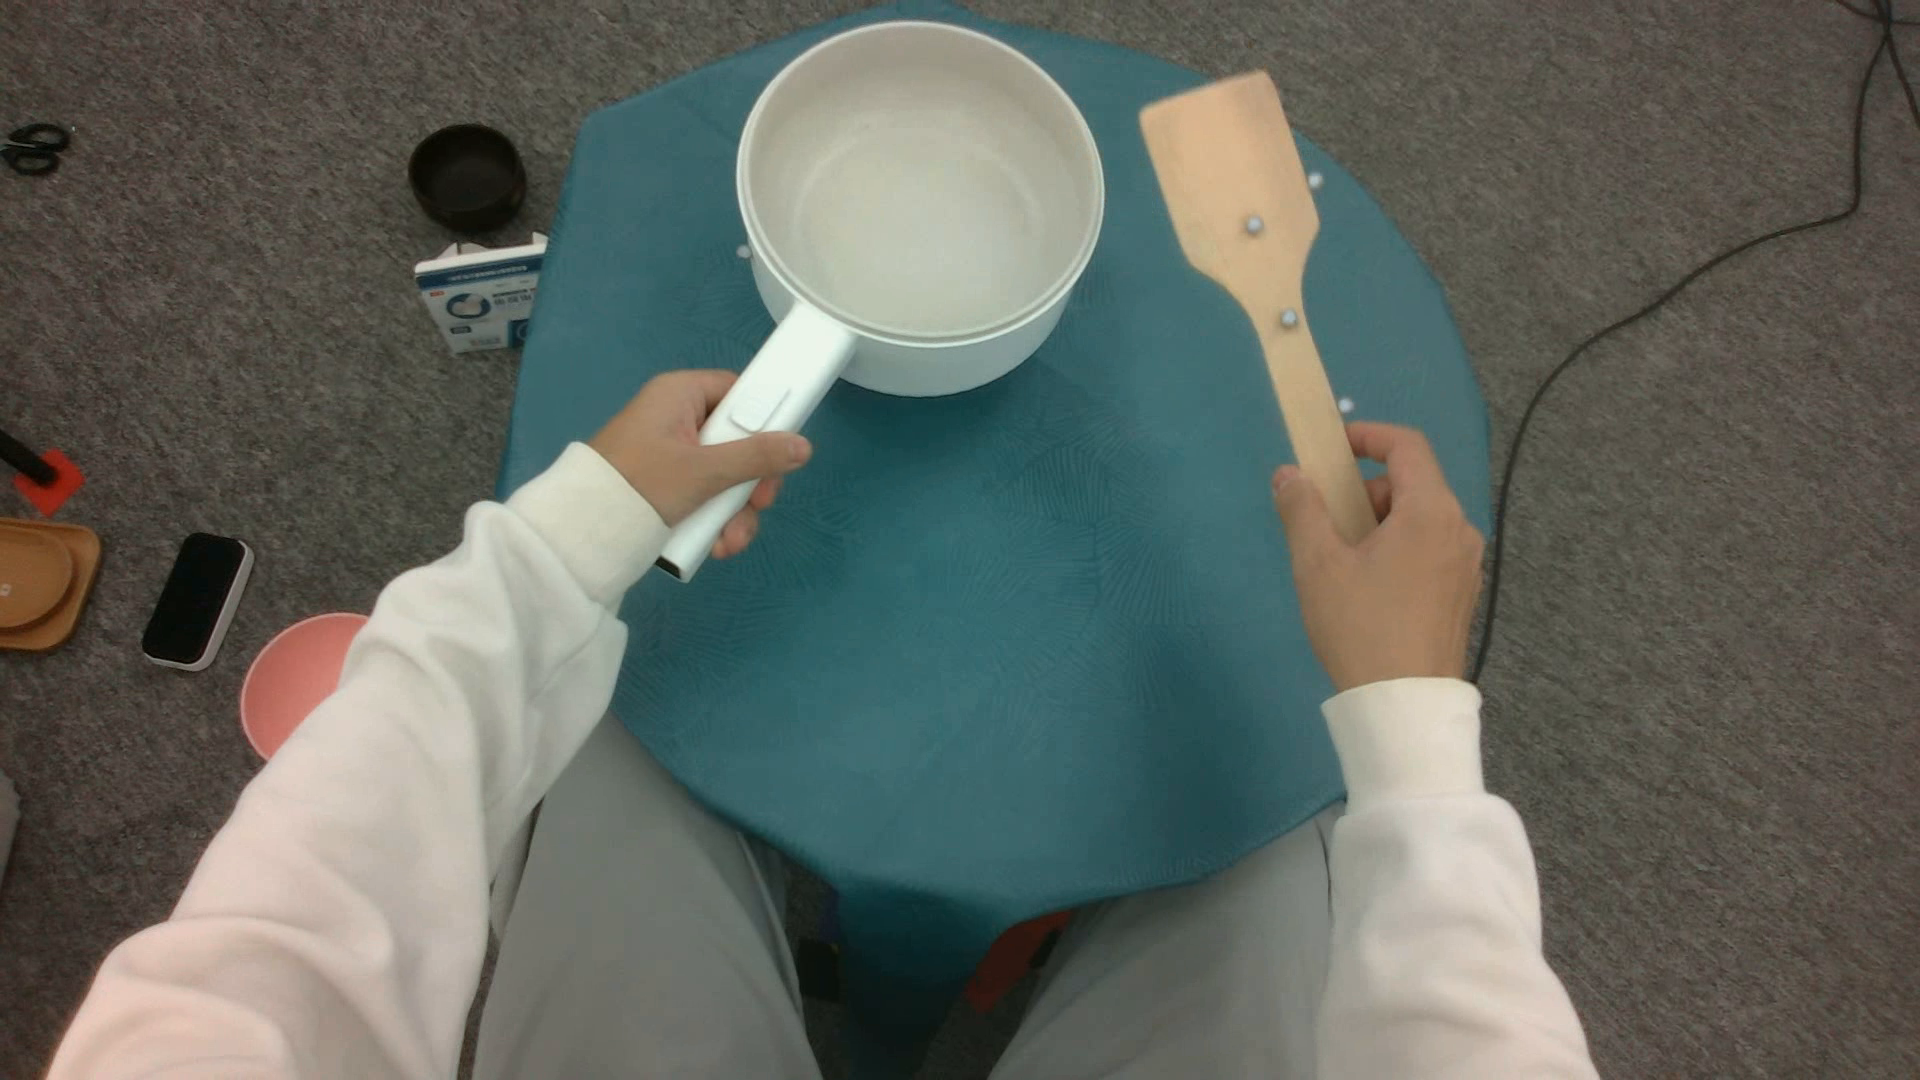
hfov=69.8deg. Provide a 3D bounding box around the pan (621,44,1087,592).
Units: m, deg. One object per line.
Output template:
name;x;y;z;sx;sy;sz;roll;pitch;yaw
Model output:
pan;-0.069;-0.116;0.783;0.201;0.102;0.356;29;71;6

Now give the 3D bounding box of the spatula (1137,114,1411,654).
spatula;0.169;-0.082;0.704;0.072;0.010;0.293;-17;78;-2
